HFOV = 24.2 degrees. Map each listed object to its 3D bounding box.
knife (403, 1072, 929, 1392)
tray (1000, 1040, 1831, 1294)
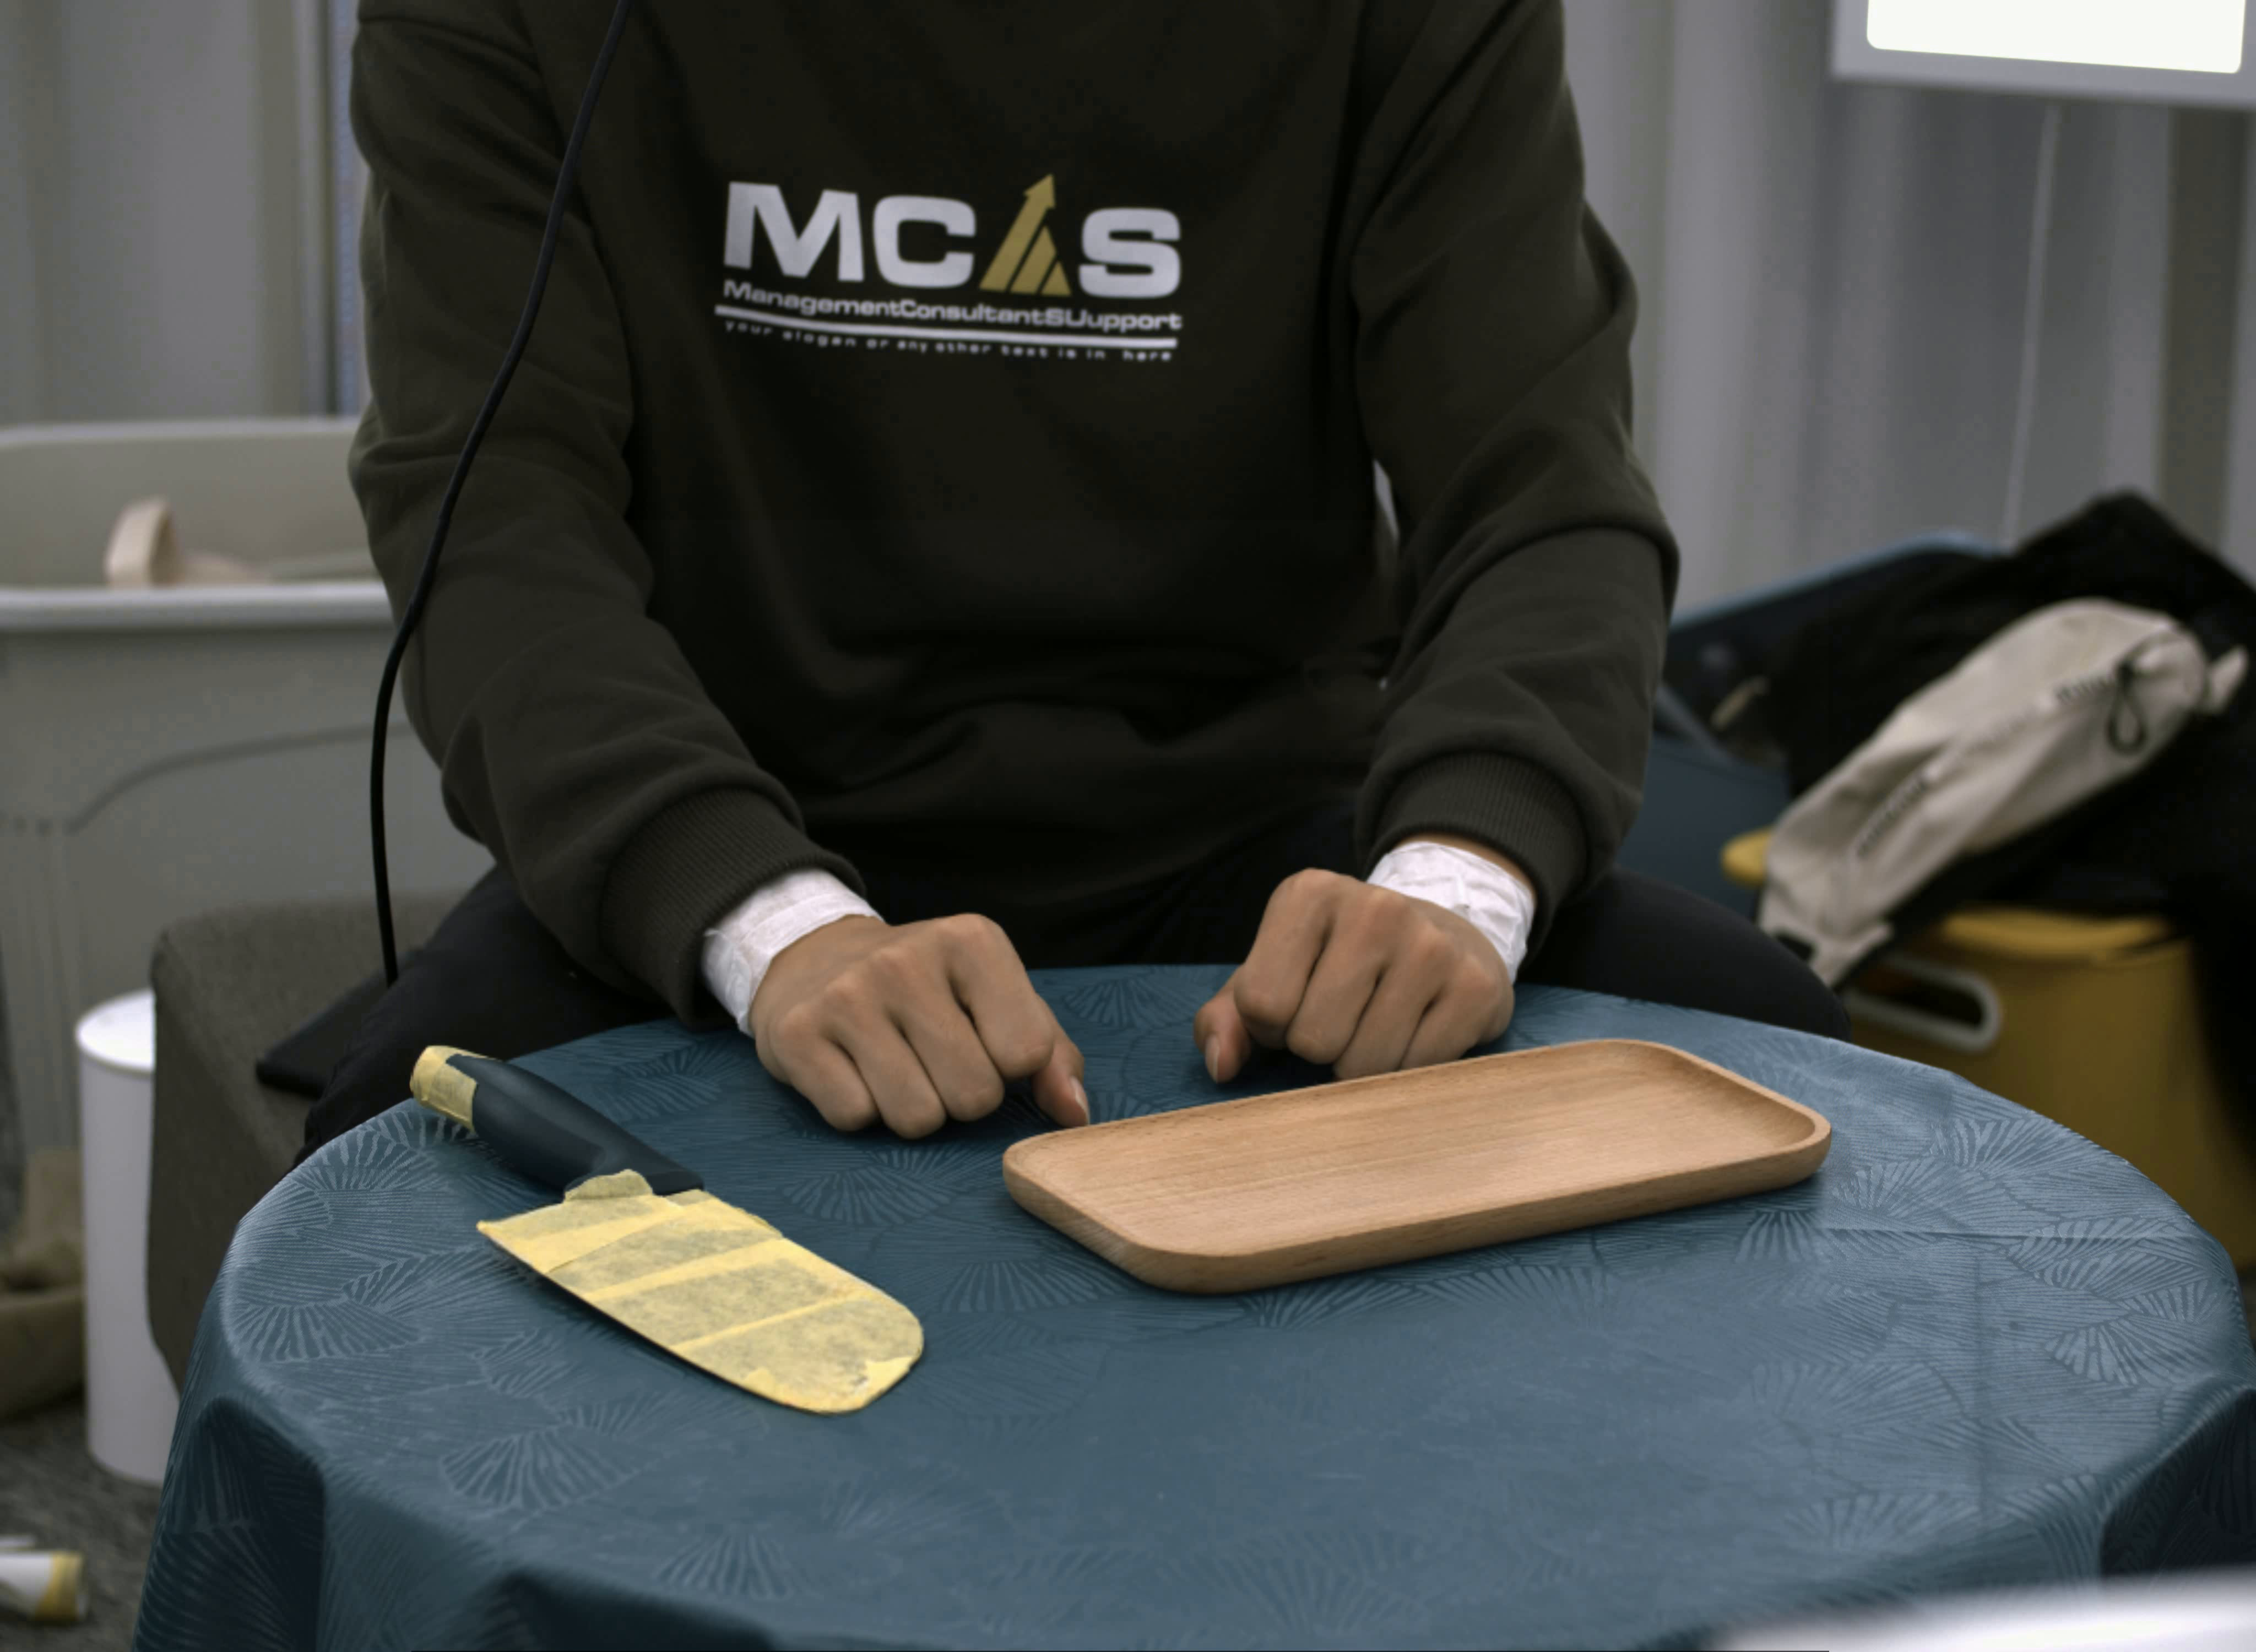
[{"bbox_3d":[-0.150,0.121,1.561,0.081,0.027,0.285,-8,18,-34],"label":"knife"},{"bbox_3d":[0.090,0.104,1.628,0.252,0.023,0.129,-9,15,-29],"label":"tray"}]
